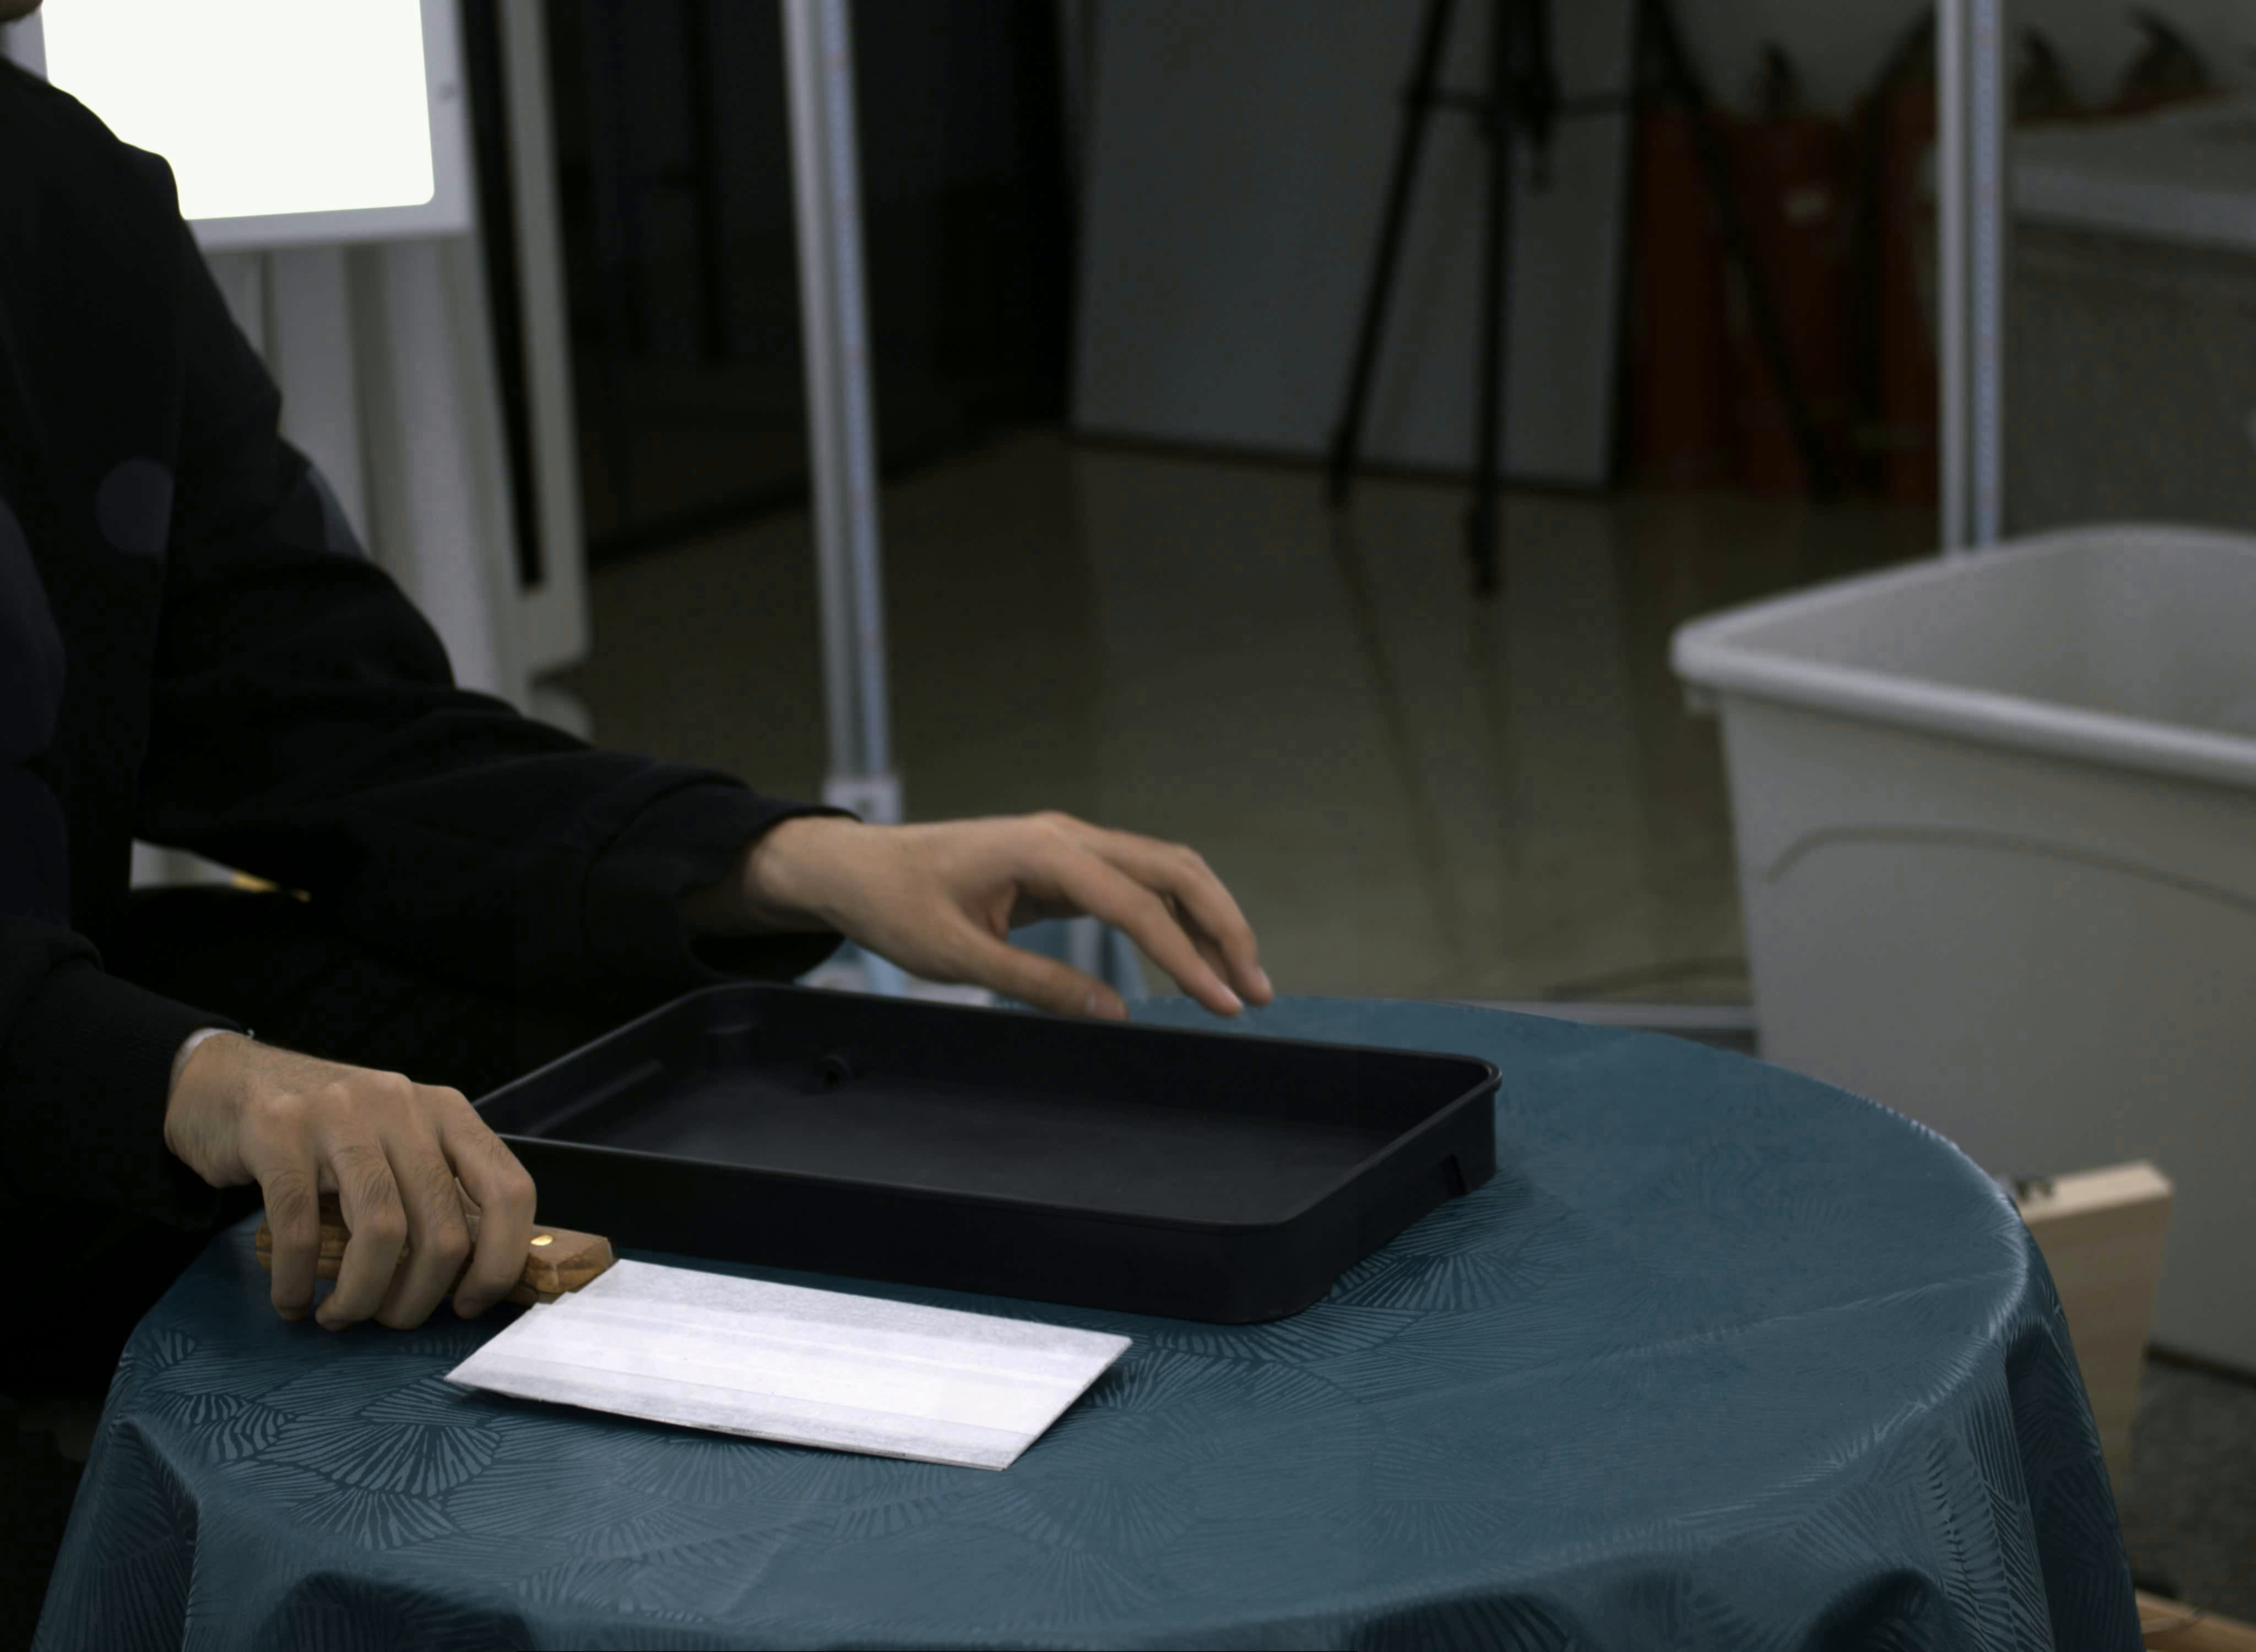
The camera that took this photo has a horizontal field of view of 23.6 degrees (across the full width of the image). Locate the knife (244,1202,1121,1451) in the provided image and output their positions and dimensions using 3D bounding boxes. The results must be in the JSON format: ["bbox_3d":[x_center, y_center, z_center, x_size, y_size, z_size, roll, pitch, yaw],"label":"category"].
[{"bbox_3d":[-0.151,0.154,1.636,0.306,0.021,0.092,6,22,27],"label":"knife"}]

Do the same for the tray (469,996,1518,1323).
[{"bbox_3d":[-0.043,0.106,1.772,0.319,0.037,0.182,3,16,28],"label":"tray"}]
